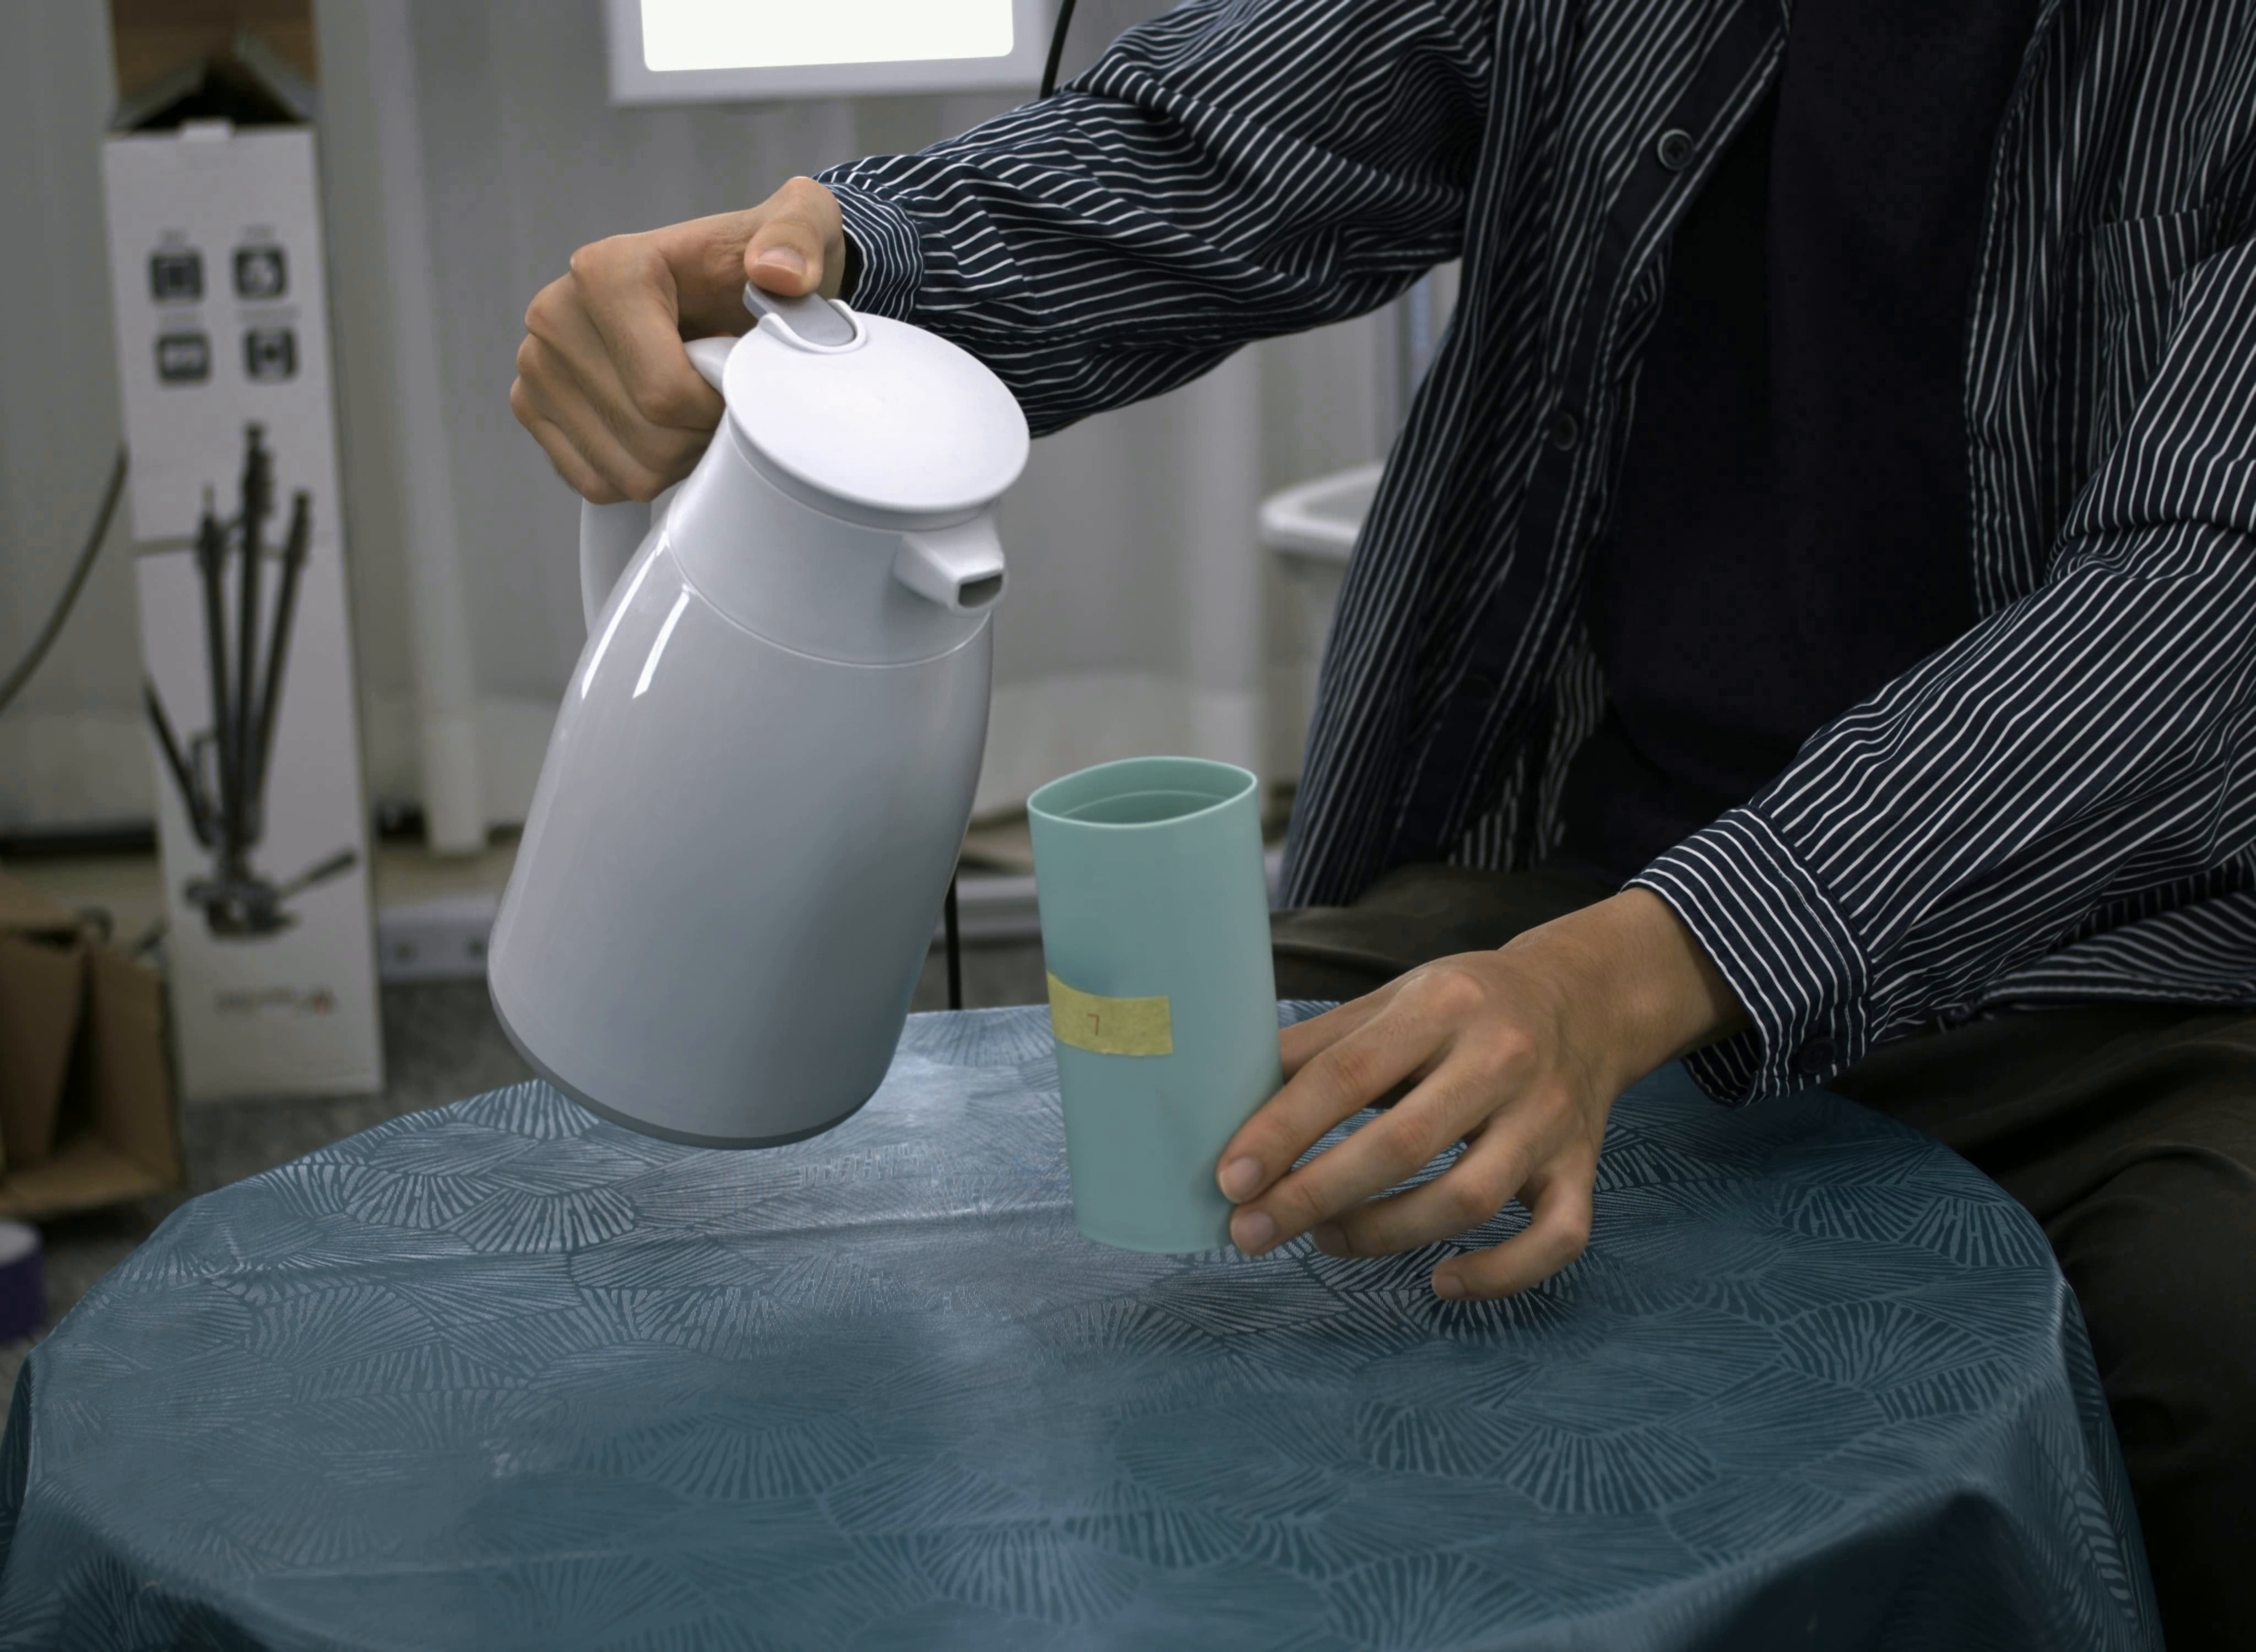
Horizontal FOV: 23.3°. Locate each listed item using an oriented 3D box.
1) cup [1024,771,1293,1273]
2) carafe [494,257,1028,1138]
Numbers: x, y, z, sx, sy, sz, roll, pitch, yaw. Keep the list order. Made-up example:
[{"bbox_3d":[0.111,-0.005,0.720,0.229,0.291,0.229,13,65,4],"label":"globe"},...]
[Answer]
[{"bbox_3d":[0.011,0.055,1.579,0.066,0.132,0.067,-6,15,1],"label":"cup"},{"bbox_3d":[-0.115,-0.050,1.655,0.132,0.246,0.169,-19,51,-38],"label":"carafe"}]
